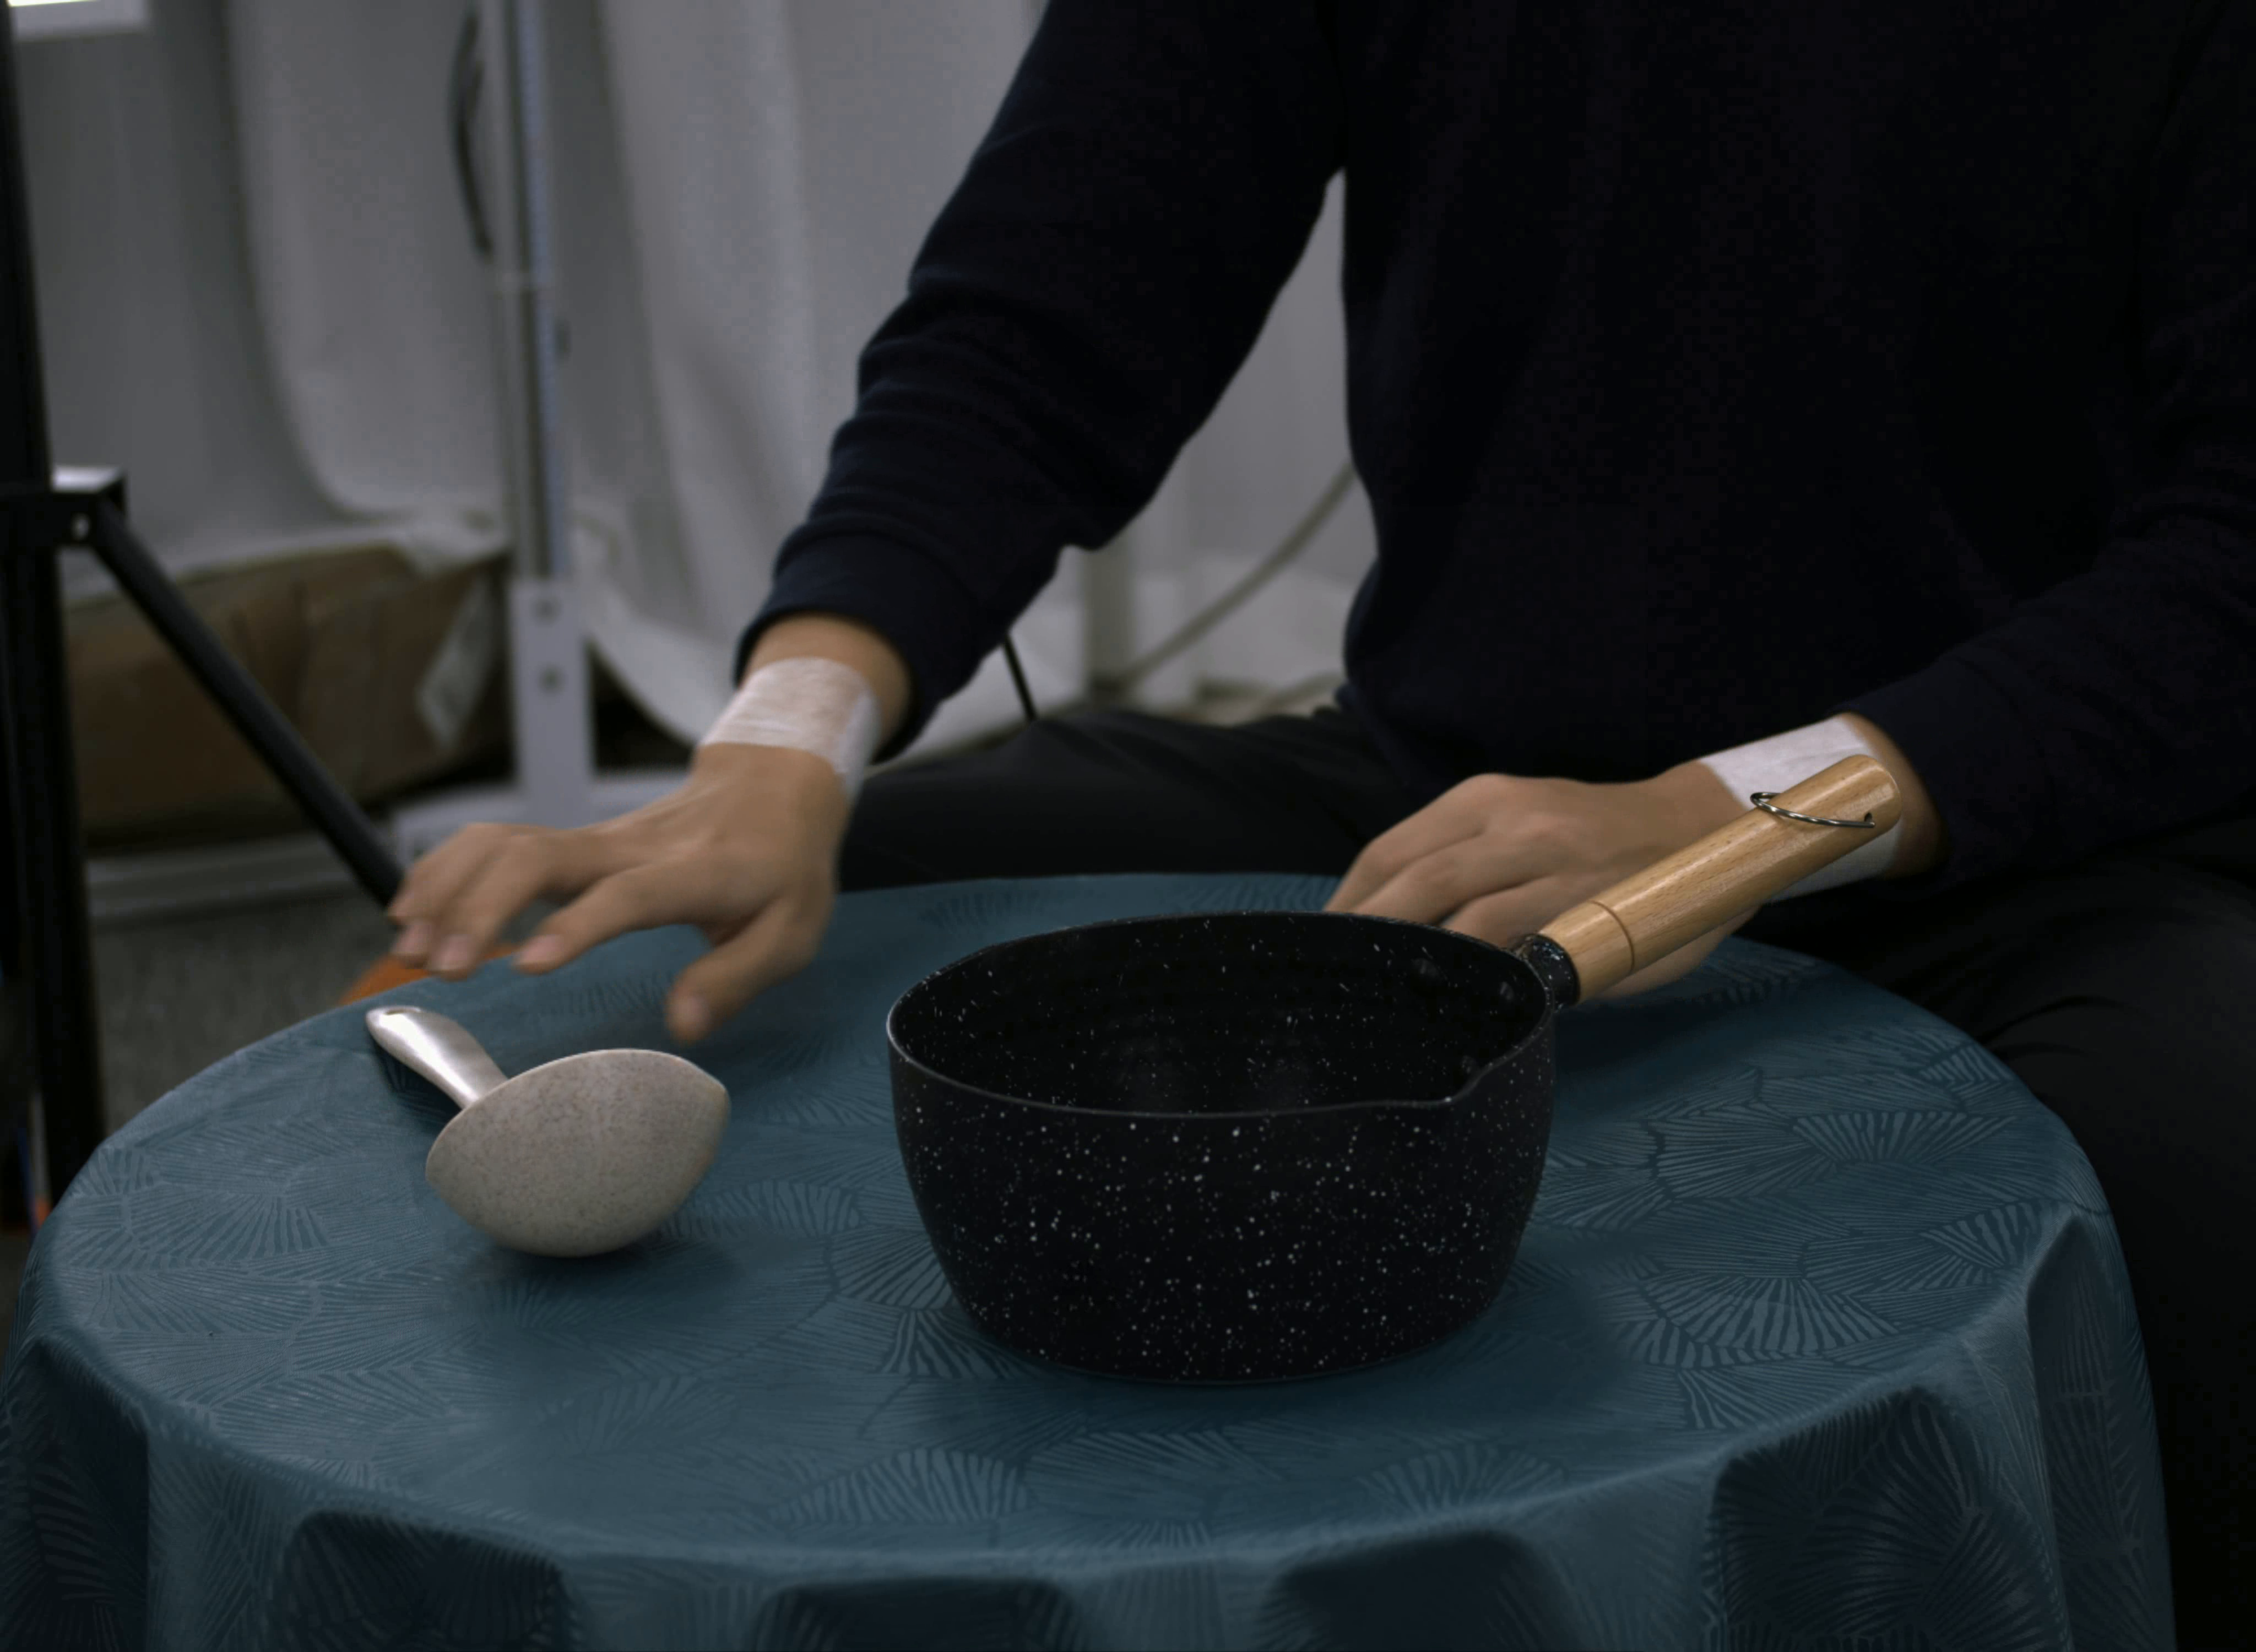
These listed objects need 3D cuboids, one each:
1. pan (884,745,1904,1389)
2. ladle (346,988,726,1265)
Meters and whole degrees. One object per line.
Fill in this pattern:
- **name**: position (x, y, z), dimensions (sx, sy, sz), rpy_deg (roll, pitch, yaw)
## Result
- **pan**: position (0.090, 0.063, 1.504), dimensions (0.335, 0.108, 0.212), rpy_deg (-15, 19, -33)
- **ladle**: position (-0.199, 0.064, 1.617), dimensions (0.088, 0.069, 0.280), rpy_deg (-16, 21, -19)
